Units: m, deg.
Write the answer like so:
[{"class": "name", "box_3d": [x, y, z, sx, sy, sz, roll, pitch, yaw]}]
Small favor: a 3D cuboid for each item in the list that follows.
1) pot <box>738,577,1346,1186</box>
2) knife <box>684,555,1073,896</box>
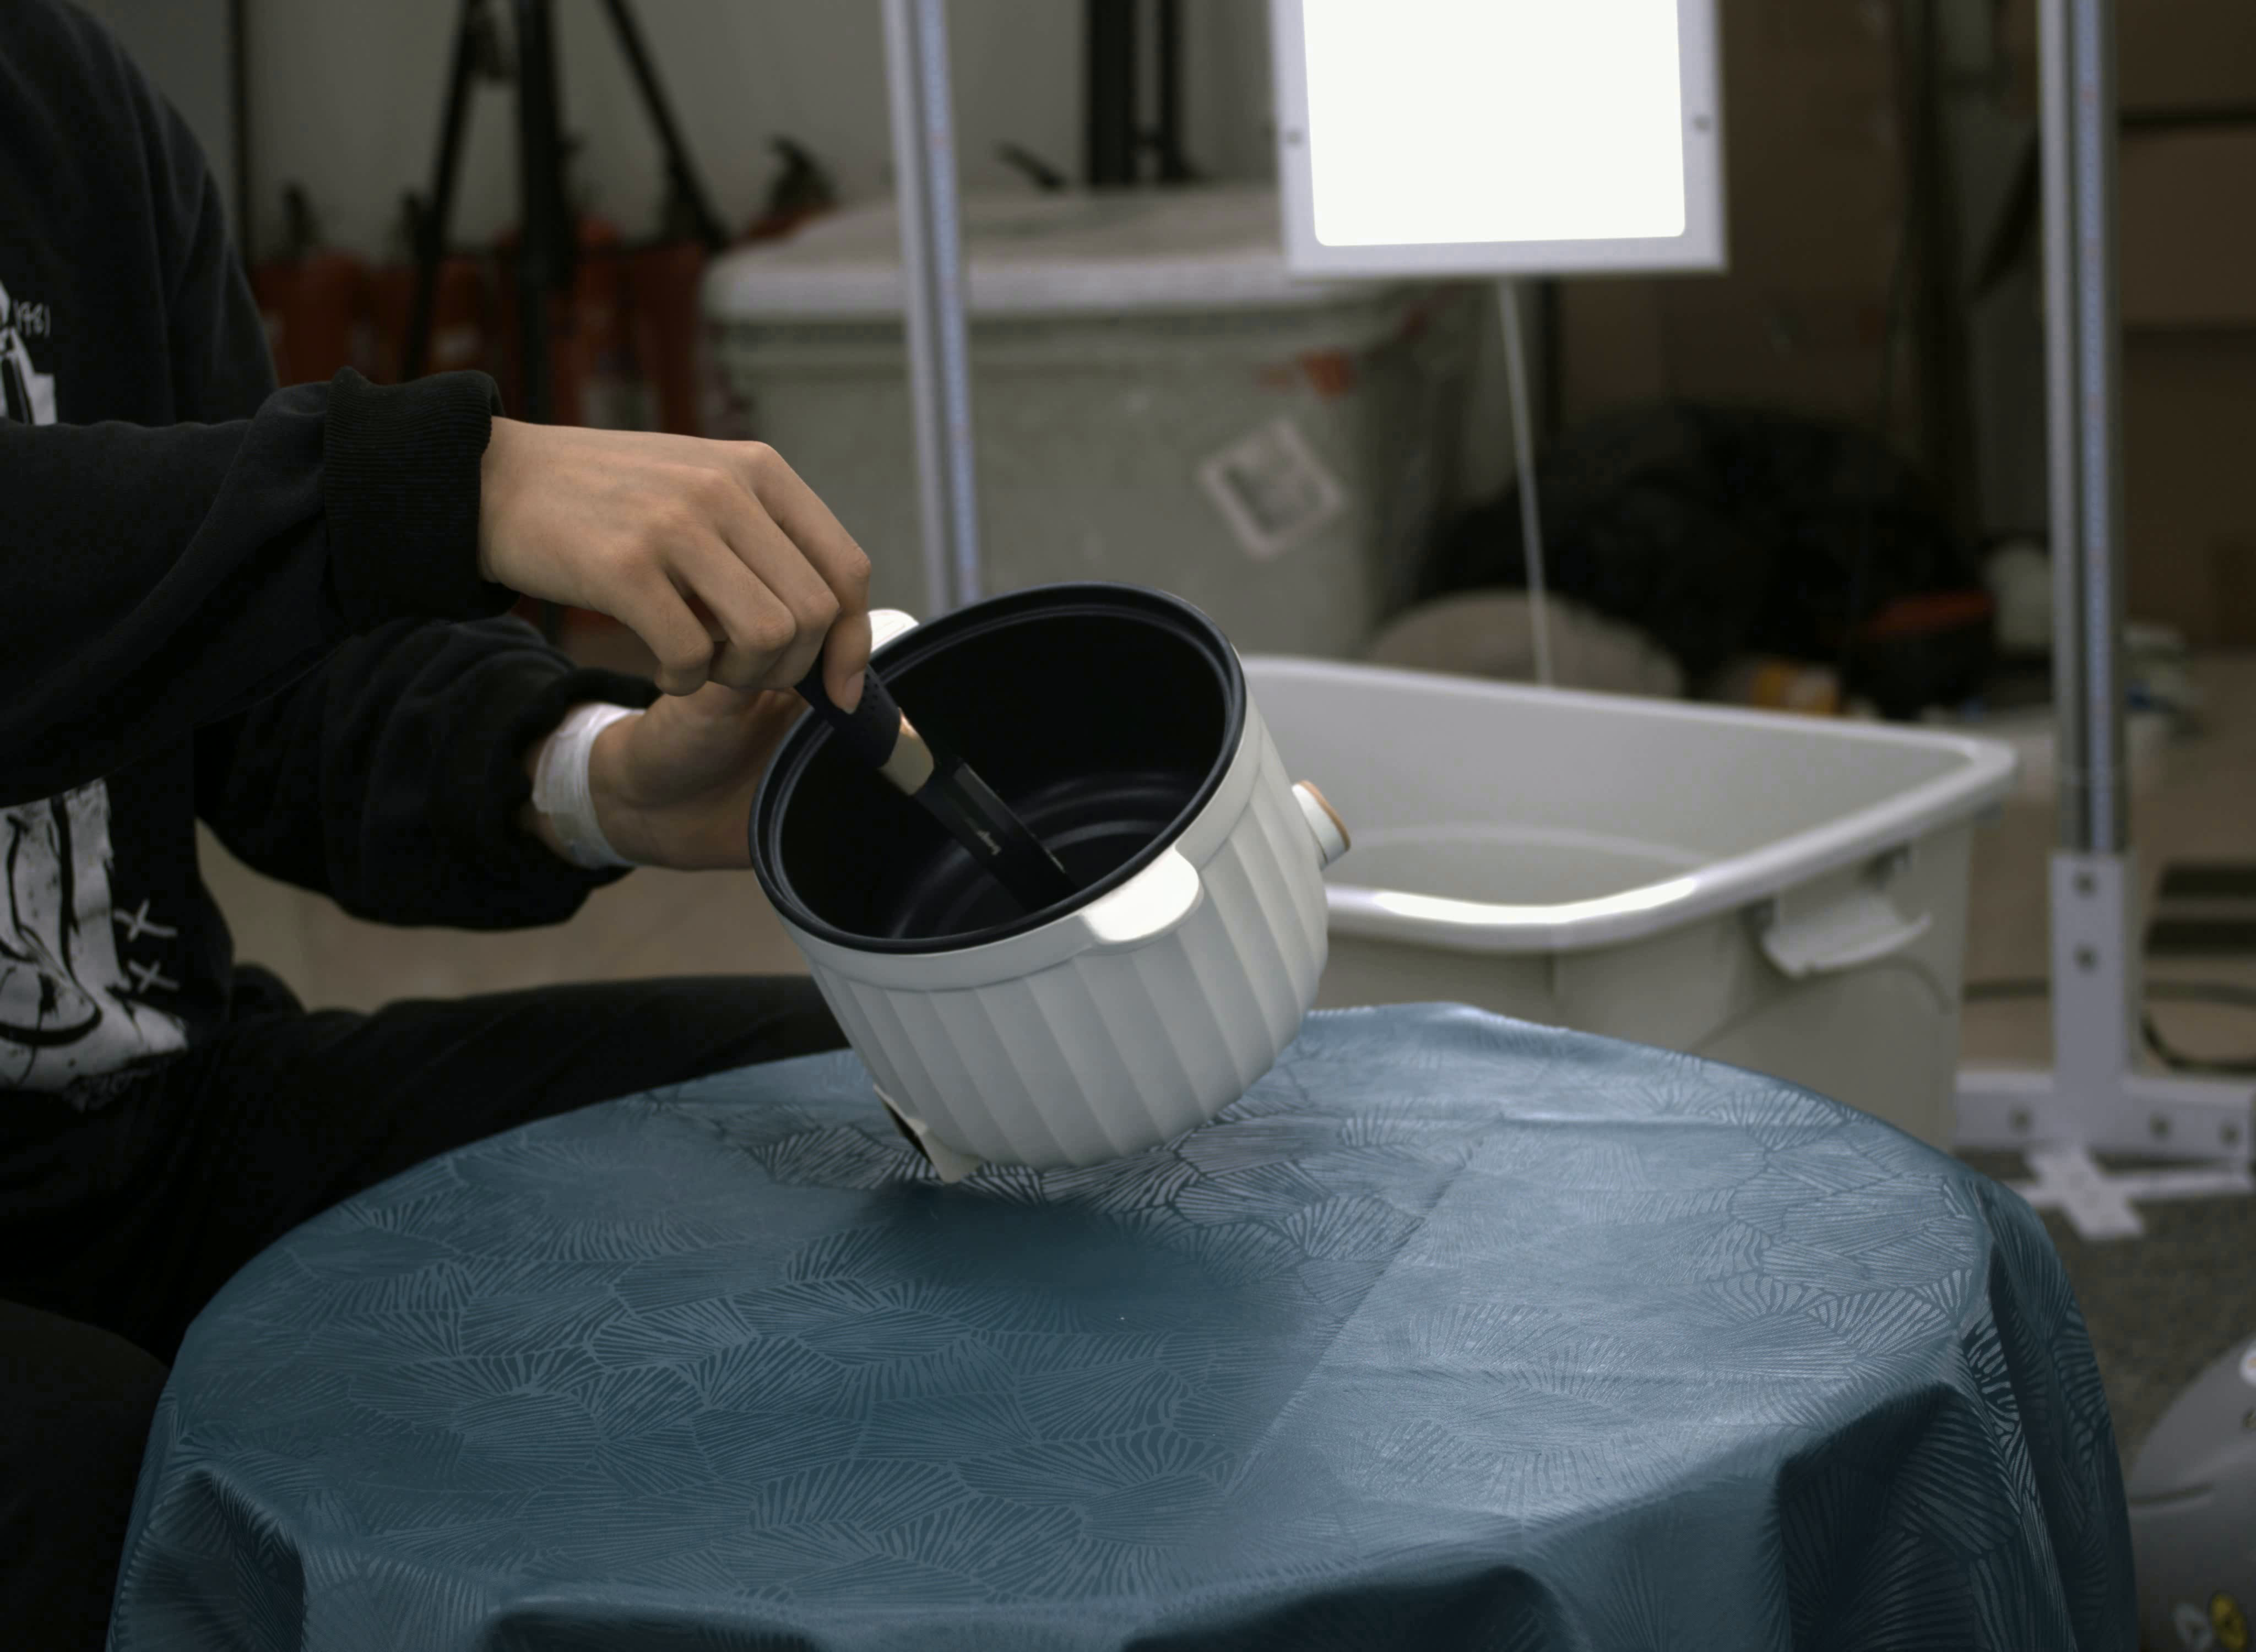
[{"class": "pot", "box_3d": [-0.020, 0.020, 1.918, 0.189, 0.141, 0.244, -38, 40, -9]}, {"class": "knife", "box_3d": [-0.068, -0.017, 1.823, 0.017, 0.222, 0.026, -23, 37, 37]}]
